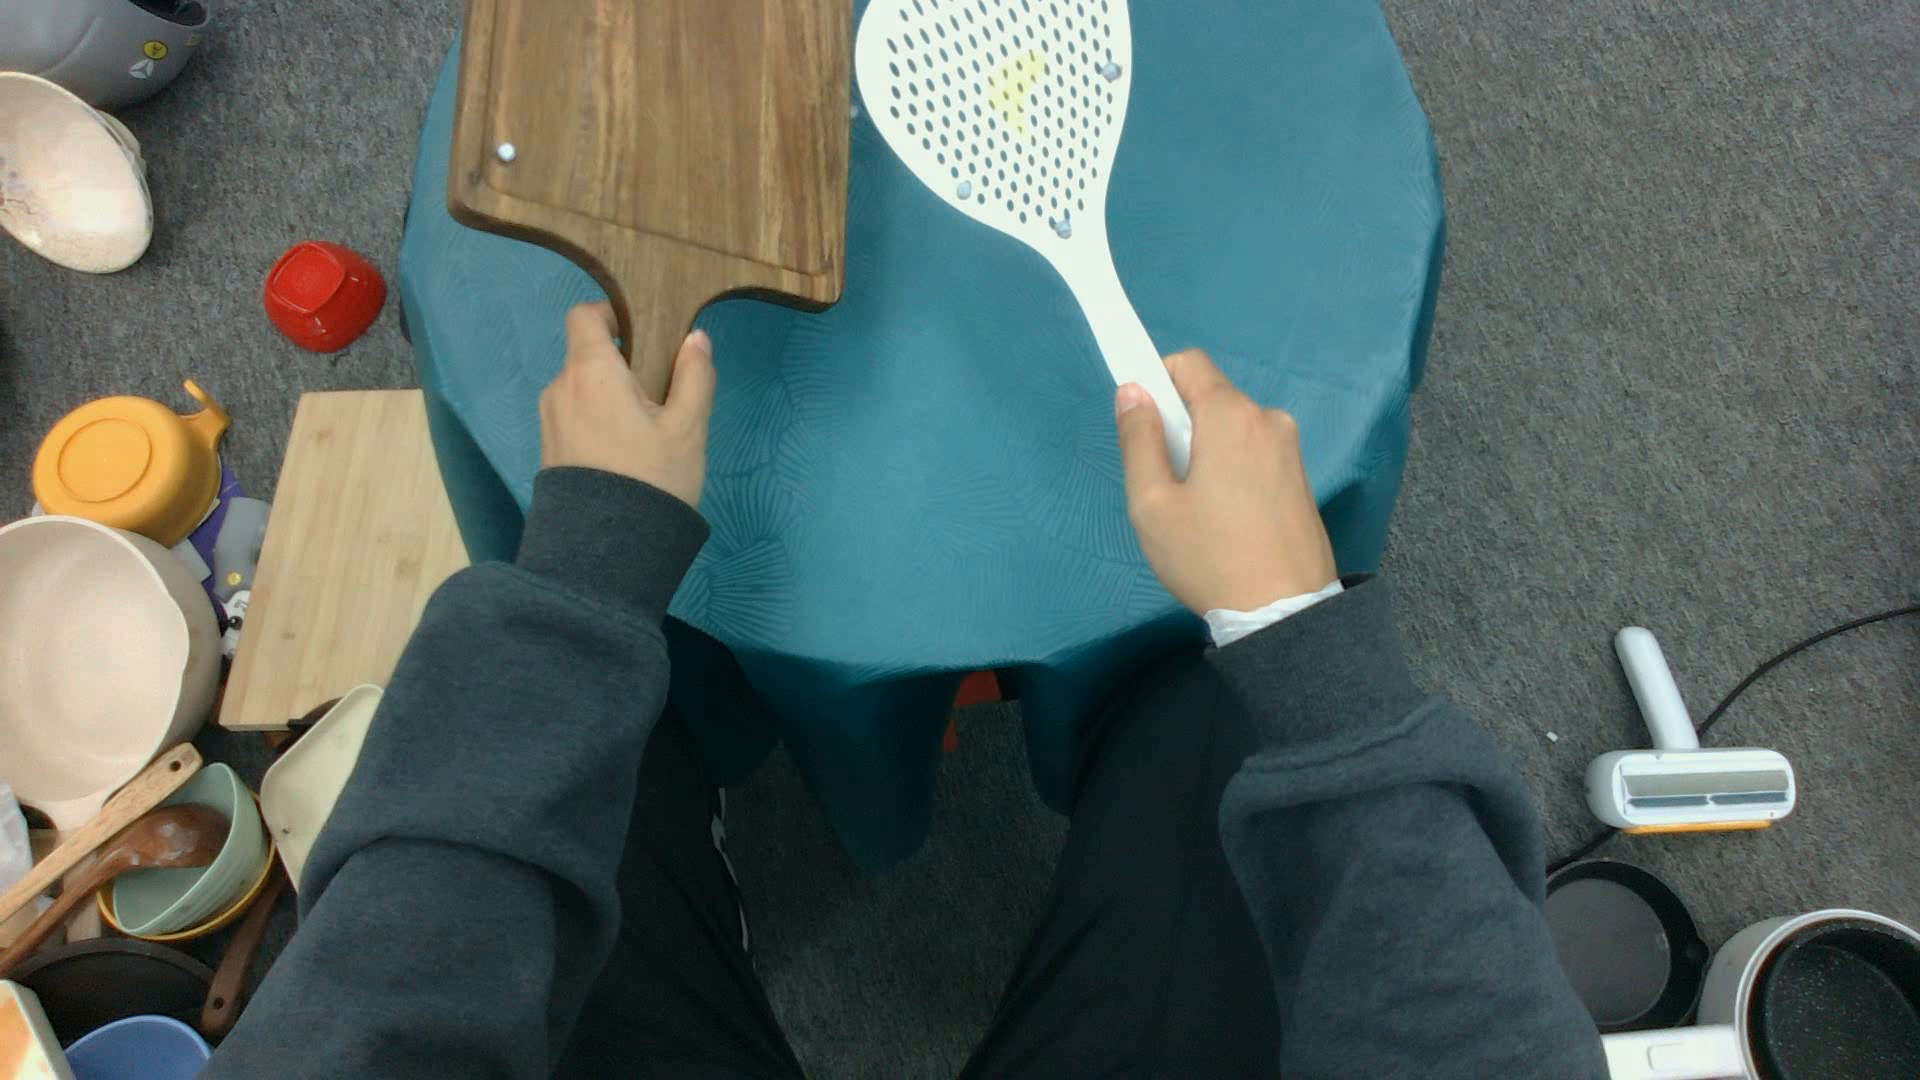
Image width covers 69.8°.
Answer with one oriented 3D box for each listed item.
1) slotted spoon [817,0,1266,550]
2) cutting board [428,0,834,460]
[{"bbox_3d":[0.045,-0.148,0.633,0.136,0.050,0.348,-29,70,15],"label":"slotted spoon"},{"bbox_3d":[-0.154,-0.212,0.680,0.201,0.023,0.353,8,76,-33],"label":"cutting board"}]
